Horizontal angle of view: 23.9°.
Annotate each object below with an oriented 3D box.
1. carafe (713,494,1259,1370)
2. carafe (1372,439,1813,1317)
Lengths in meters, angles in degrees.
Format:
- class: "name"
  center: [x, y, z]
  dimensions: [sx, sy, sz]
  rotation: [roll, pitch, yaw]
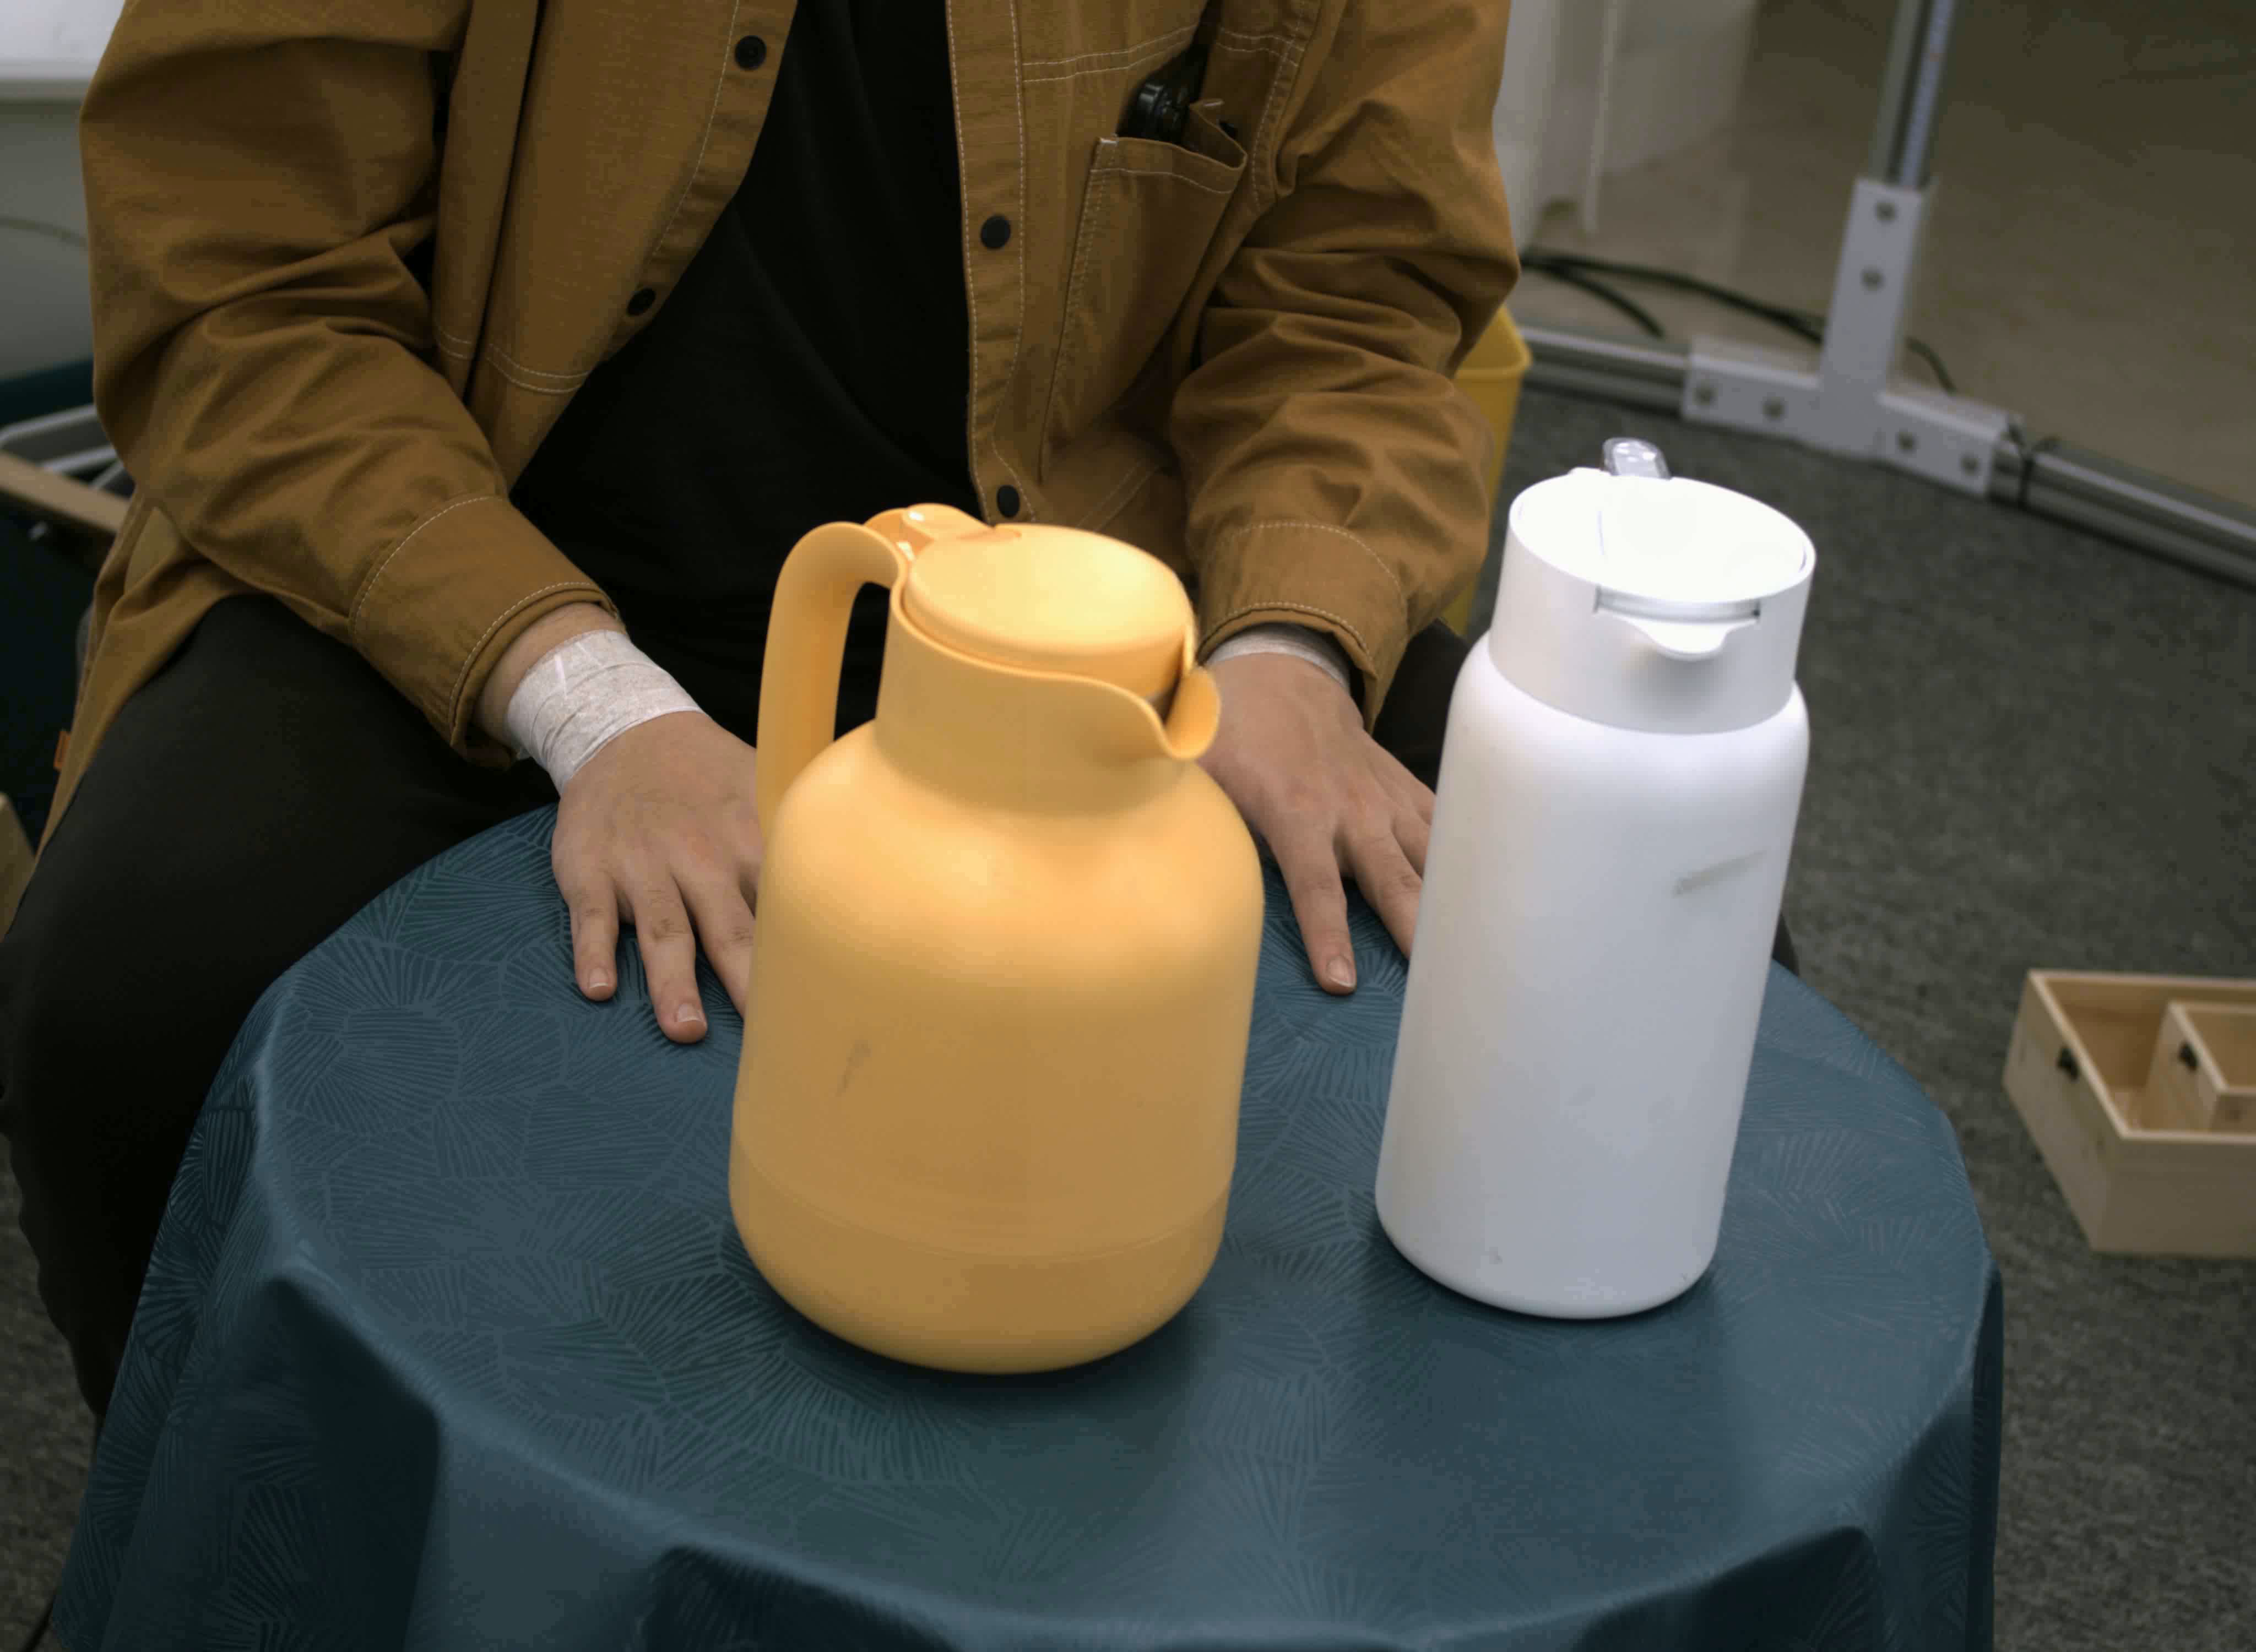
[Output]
- class: "carafe"
  center: [-0.051, 0.024, 1.700]
  dimensions: [0.162, 0.260, 0.204]
  rotation: [-10, 32, -37]
- class: "carafe"
  center: [0.151, 0.014, 1.761]
  dimensions: [0.123, 0.268, 0.174]
  rotation: [2, 27, -6]
